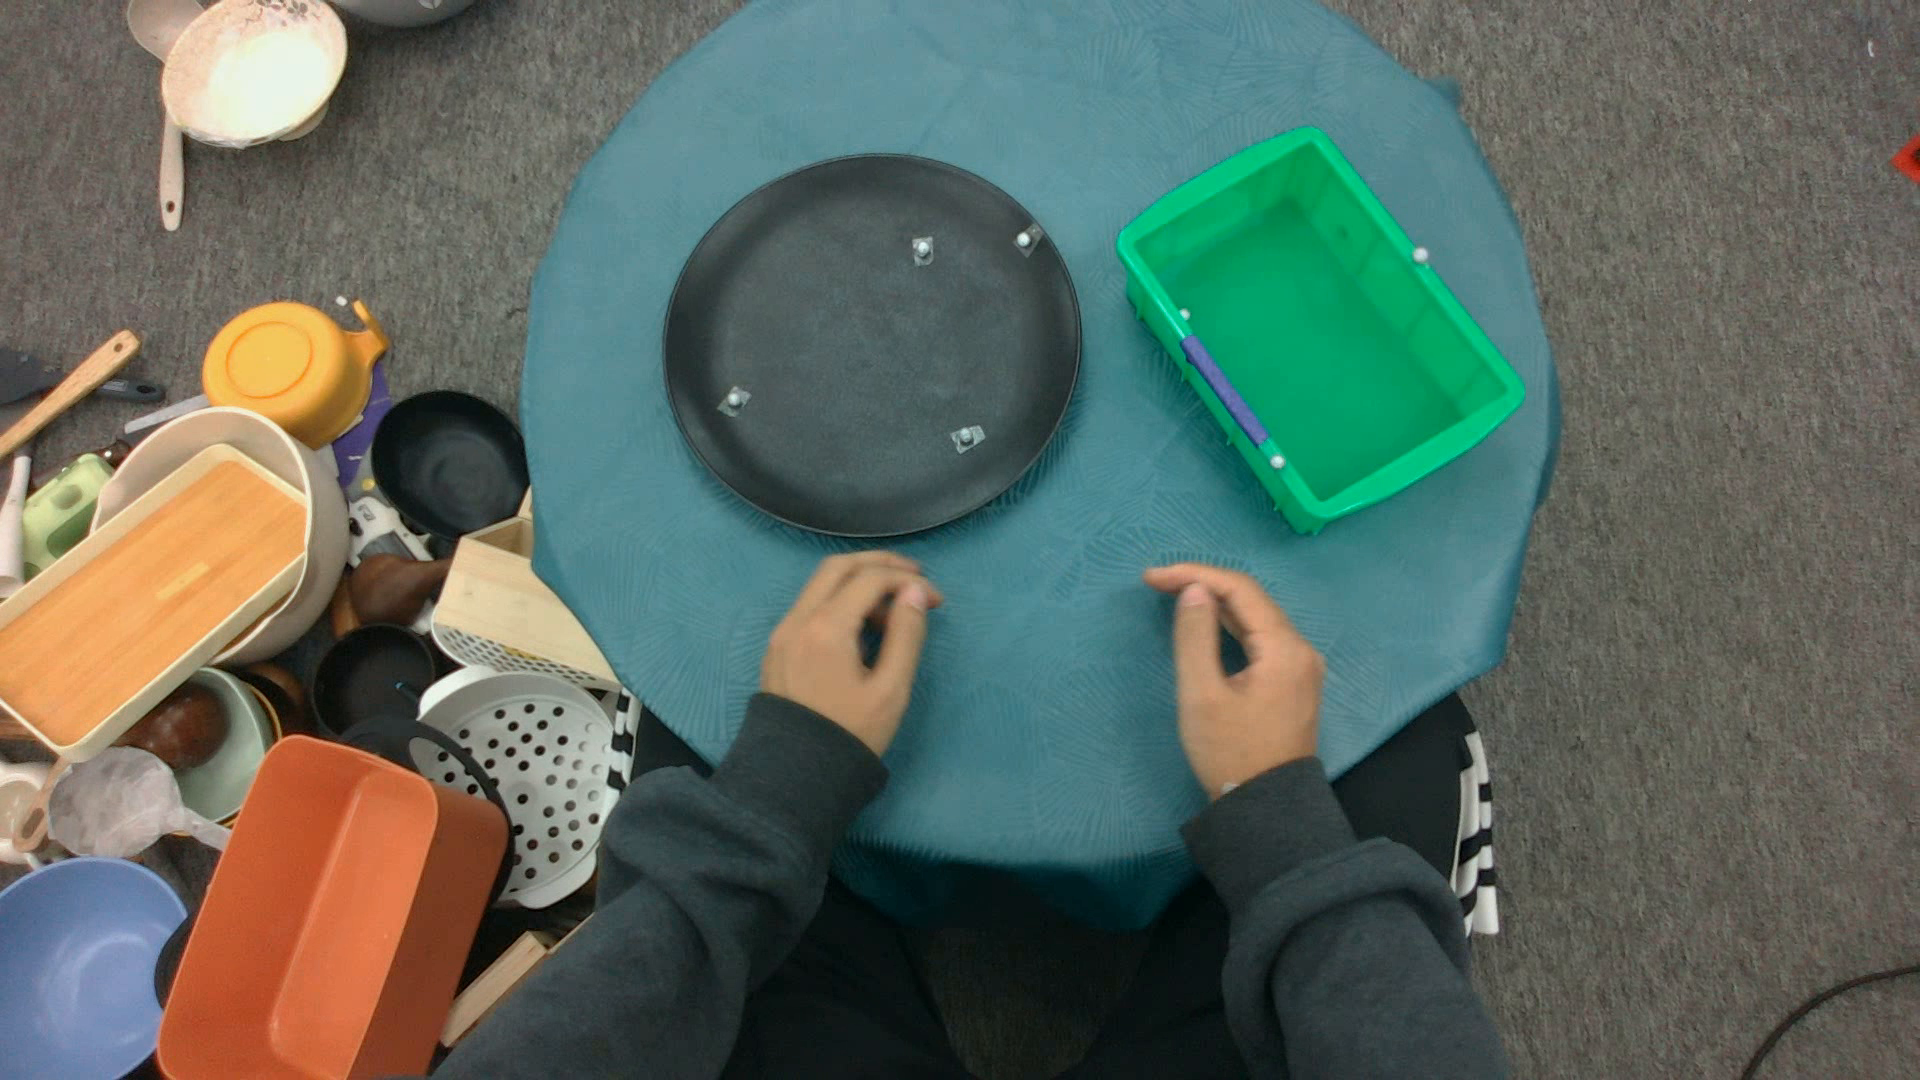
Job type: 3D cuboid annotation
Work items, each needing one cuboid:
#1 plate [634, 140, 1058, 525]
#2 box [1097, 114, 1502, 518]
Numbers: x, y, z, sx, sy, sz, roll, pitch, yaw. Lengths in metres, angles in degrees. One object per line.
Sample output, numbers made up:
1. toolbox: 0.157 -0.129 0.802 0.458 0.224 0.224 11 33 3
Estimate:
1. plate: -0.065 -0.121 0.799 0.244 0.023 0.245 0 73 1
2. box: 0.183 -0.121 0.774 0.139 0.065 0.210 -32 77 -7
